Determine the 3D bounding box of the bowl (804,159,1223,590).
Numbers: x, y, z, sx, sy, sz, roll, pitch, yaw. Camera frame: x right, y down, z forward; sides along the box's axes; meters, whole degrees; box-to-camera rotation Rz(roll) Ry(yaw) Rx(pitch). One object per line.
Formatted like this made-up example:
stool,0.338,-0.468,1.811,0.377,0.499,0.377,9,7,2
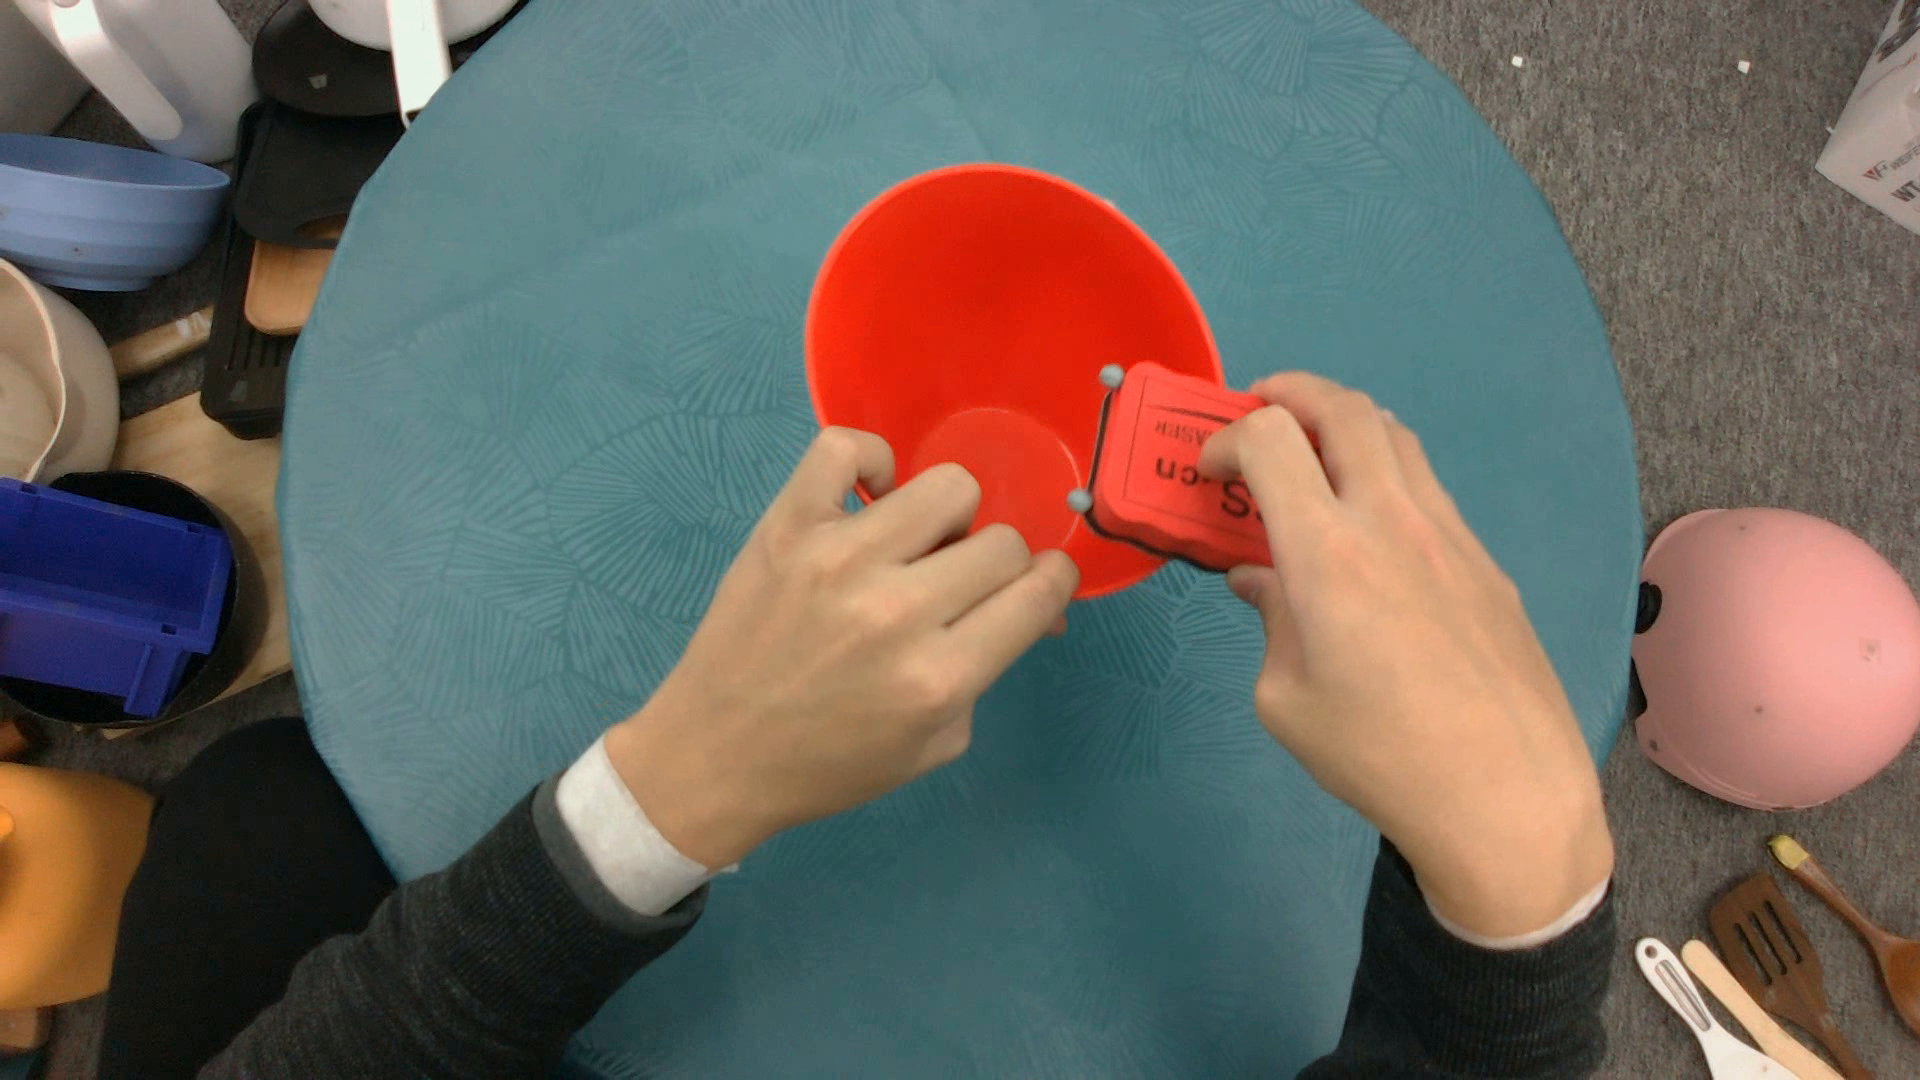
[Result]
bowl,0.014,-0.045,0.488,0.148,0.104,0.148,4,70,-12

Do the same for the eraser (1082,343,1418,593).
eraser,0.096,-0.023,0.452,0.108,0.023,0.059,16,68,-10
